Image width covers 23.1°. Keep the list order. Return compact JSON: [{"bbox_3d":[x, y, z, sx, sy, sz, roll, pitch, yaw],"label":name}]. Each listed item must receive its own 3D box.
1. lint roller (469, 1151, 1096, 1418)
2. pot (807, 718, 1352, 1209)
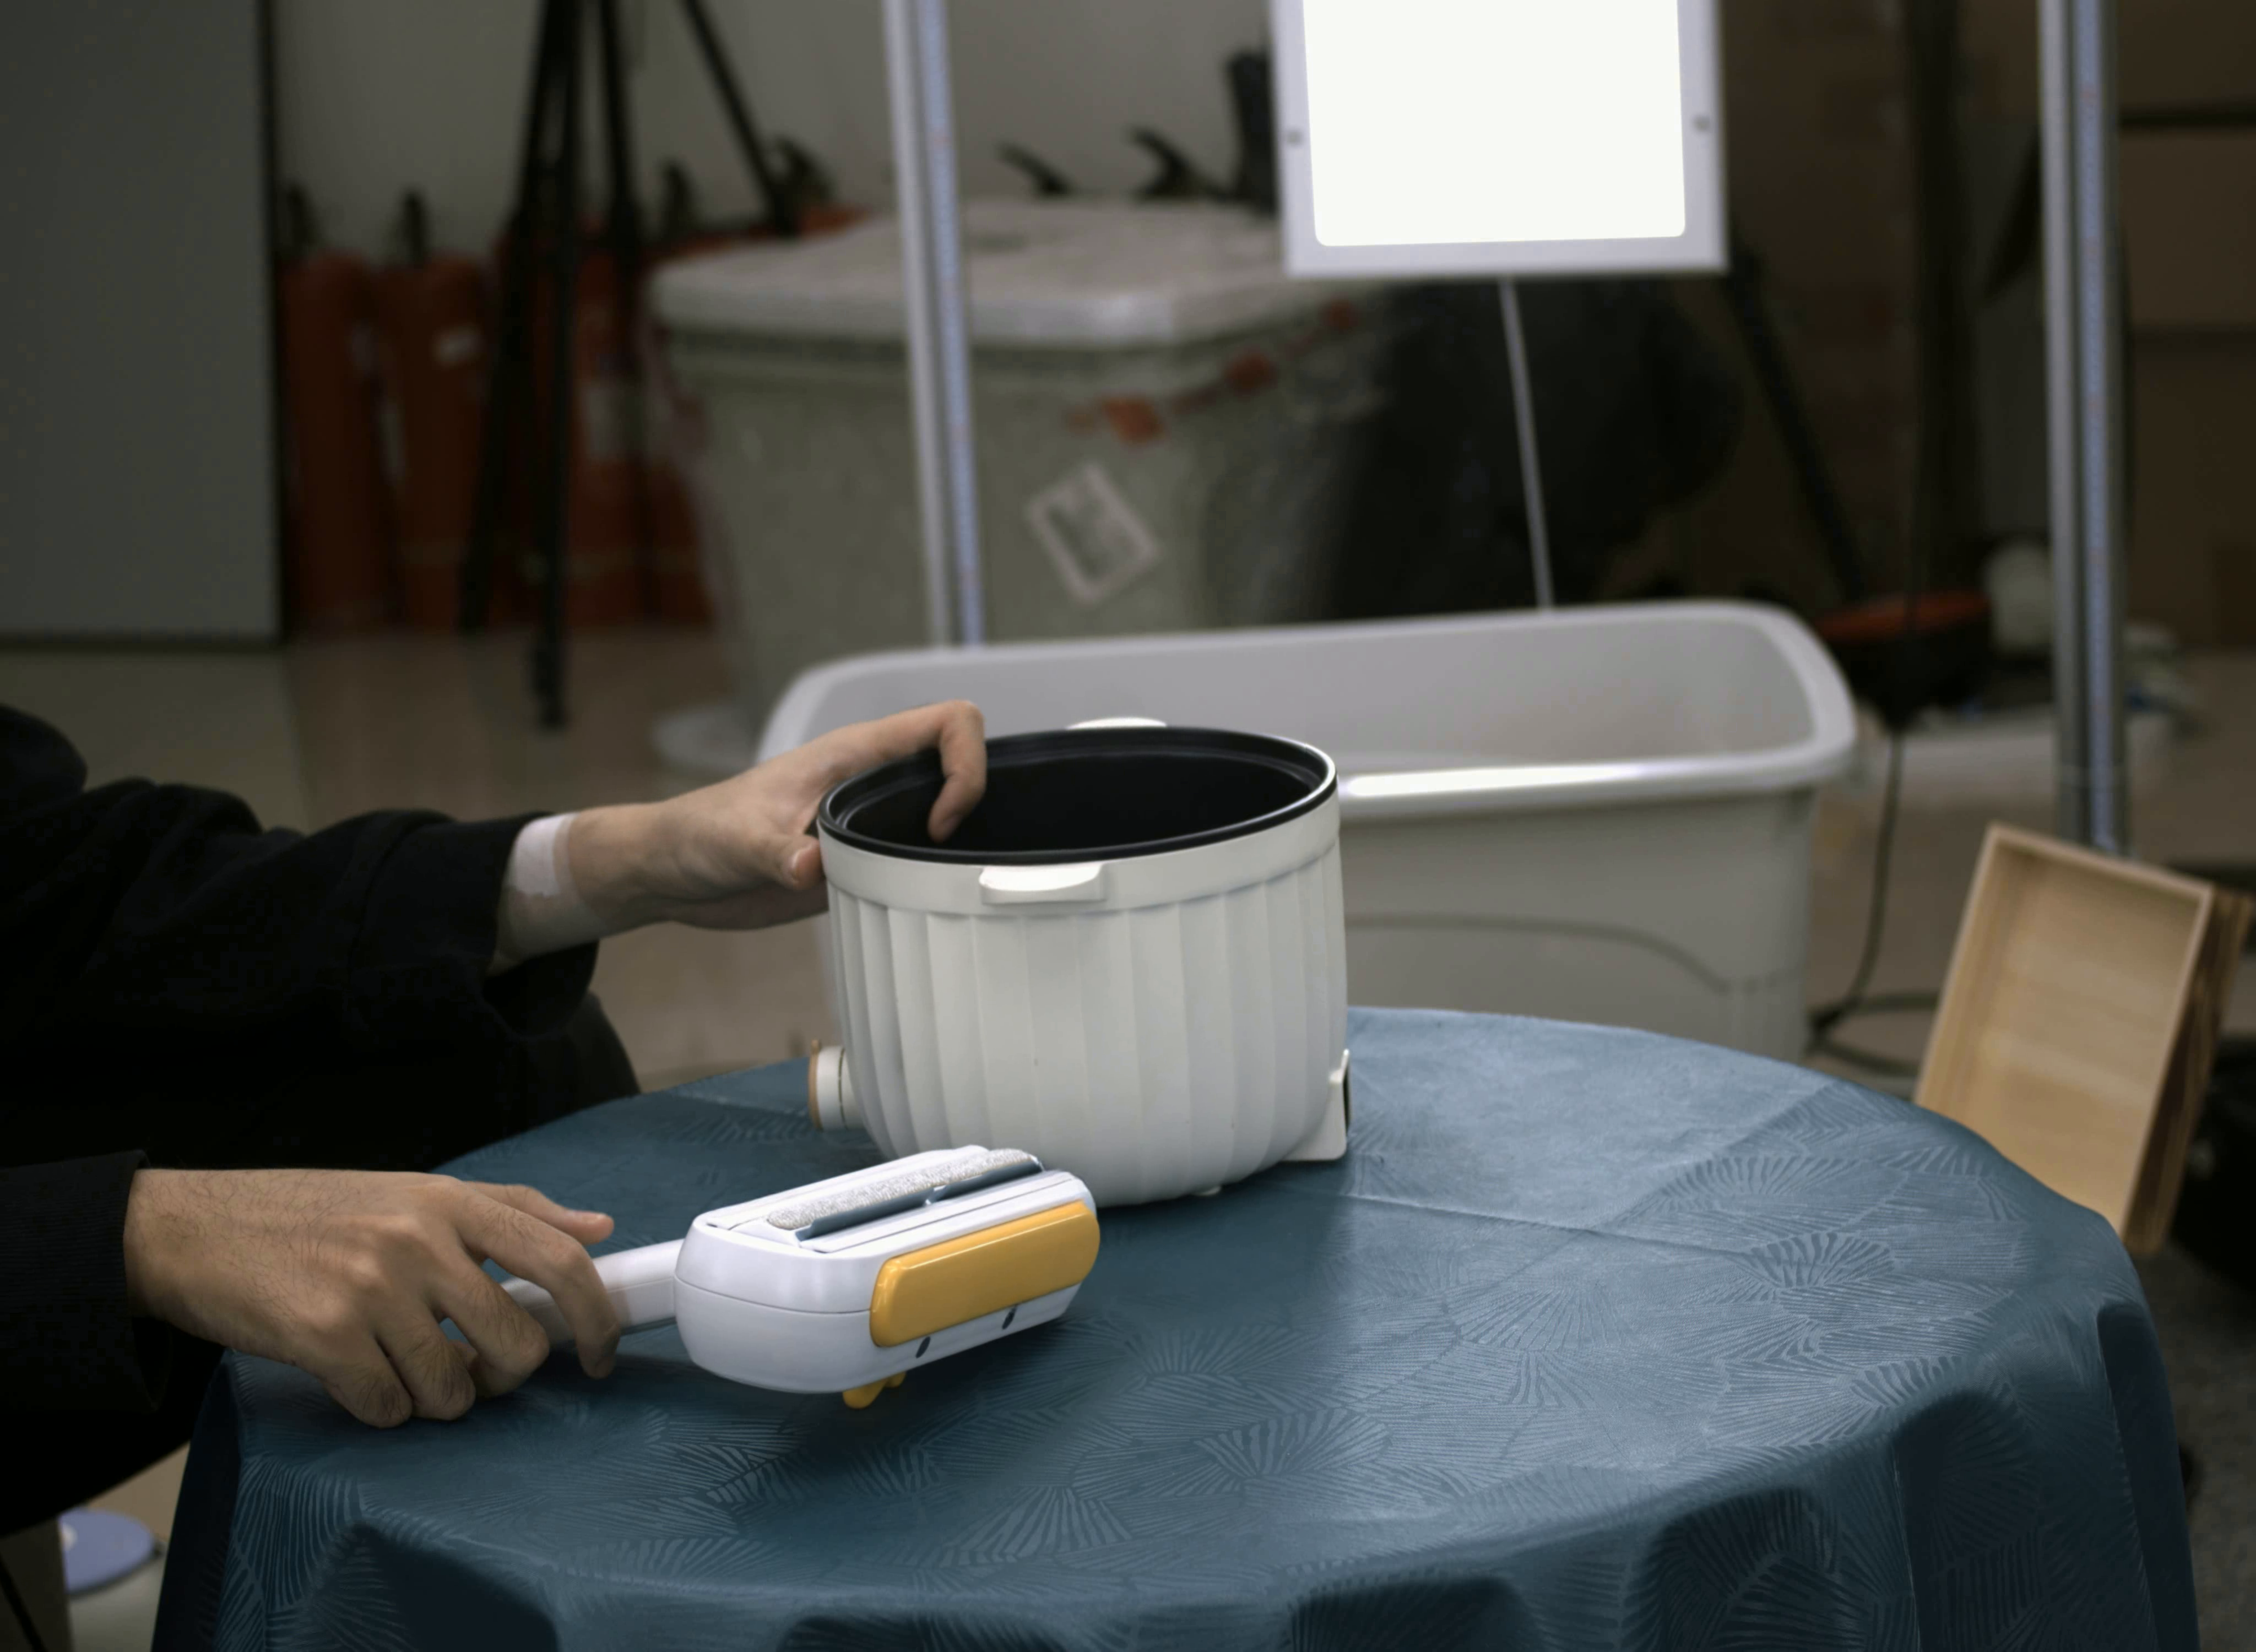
[{"bbox_3d":[-0.126,0.142,1.735,0.196,0.074,0.188,2,10,31],"label":"lint roller"},{"bbox_3d":[-0.018,0.051,1.916,0.191,0.143,0.238,0,13,7],"label":"pot"}]
